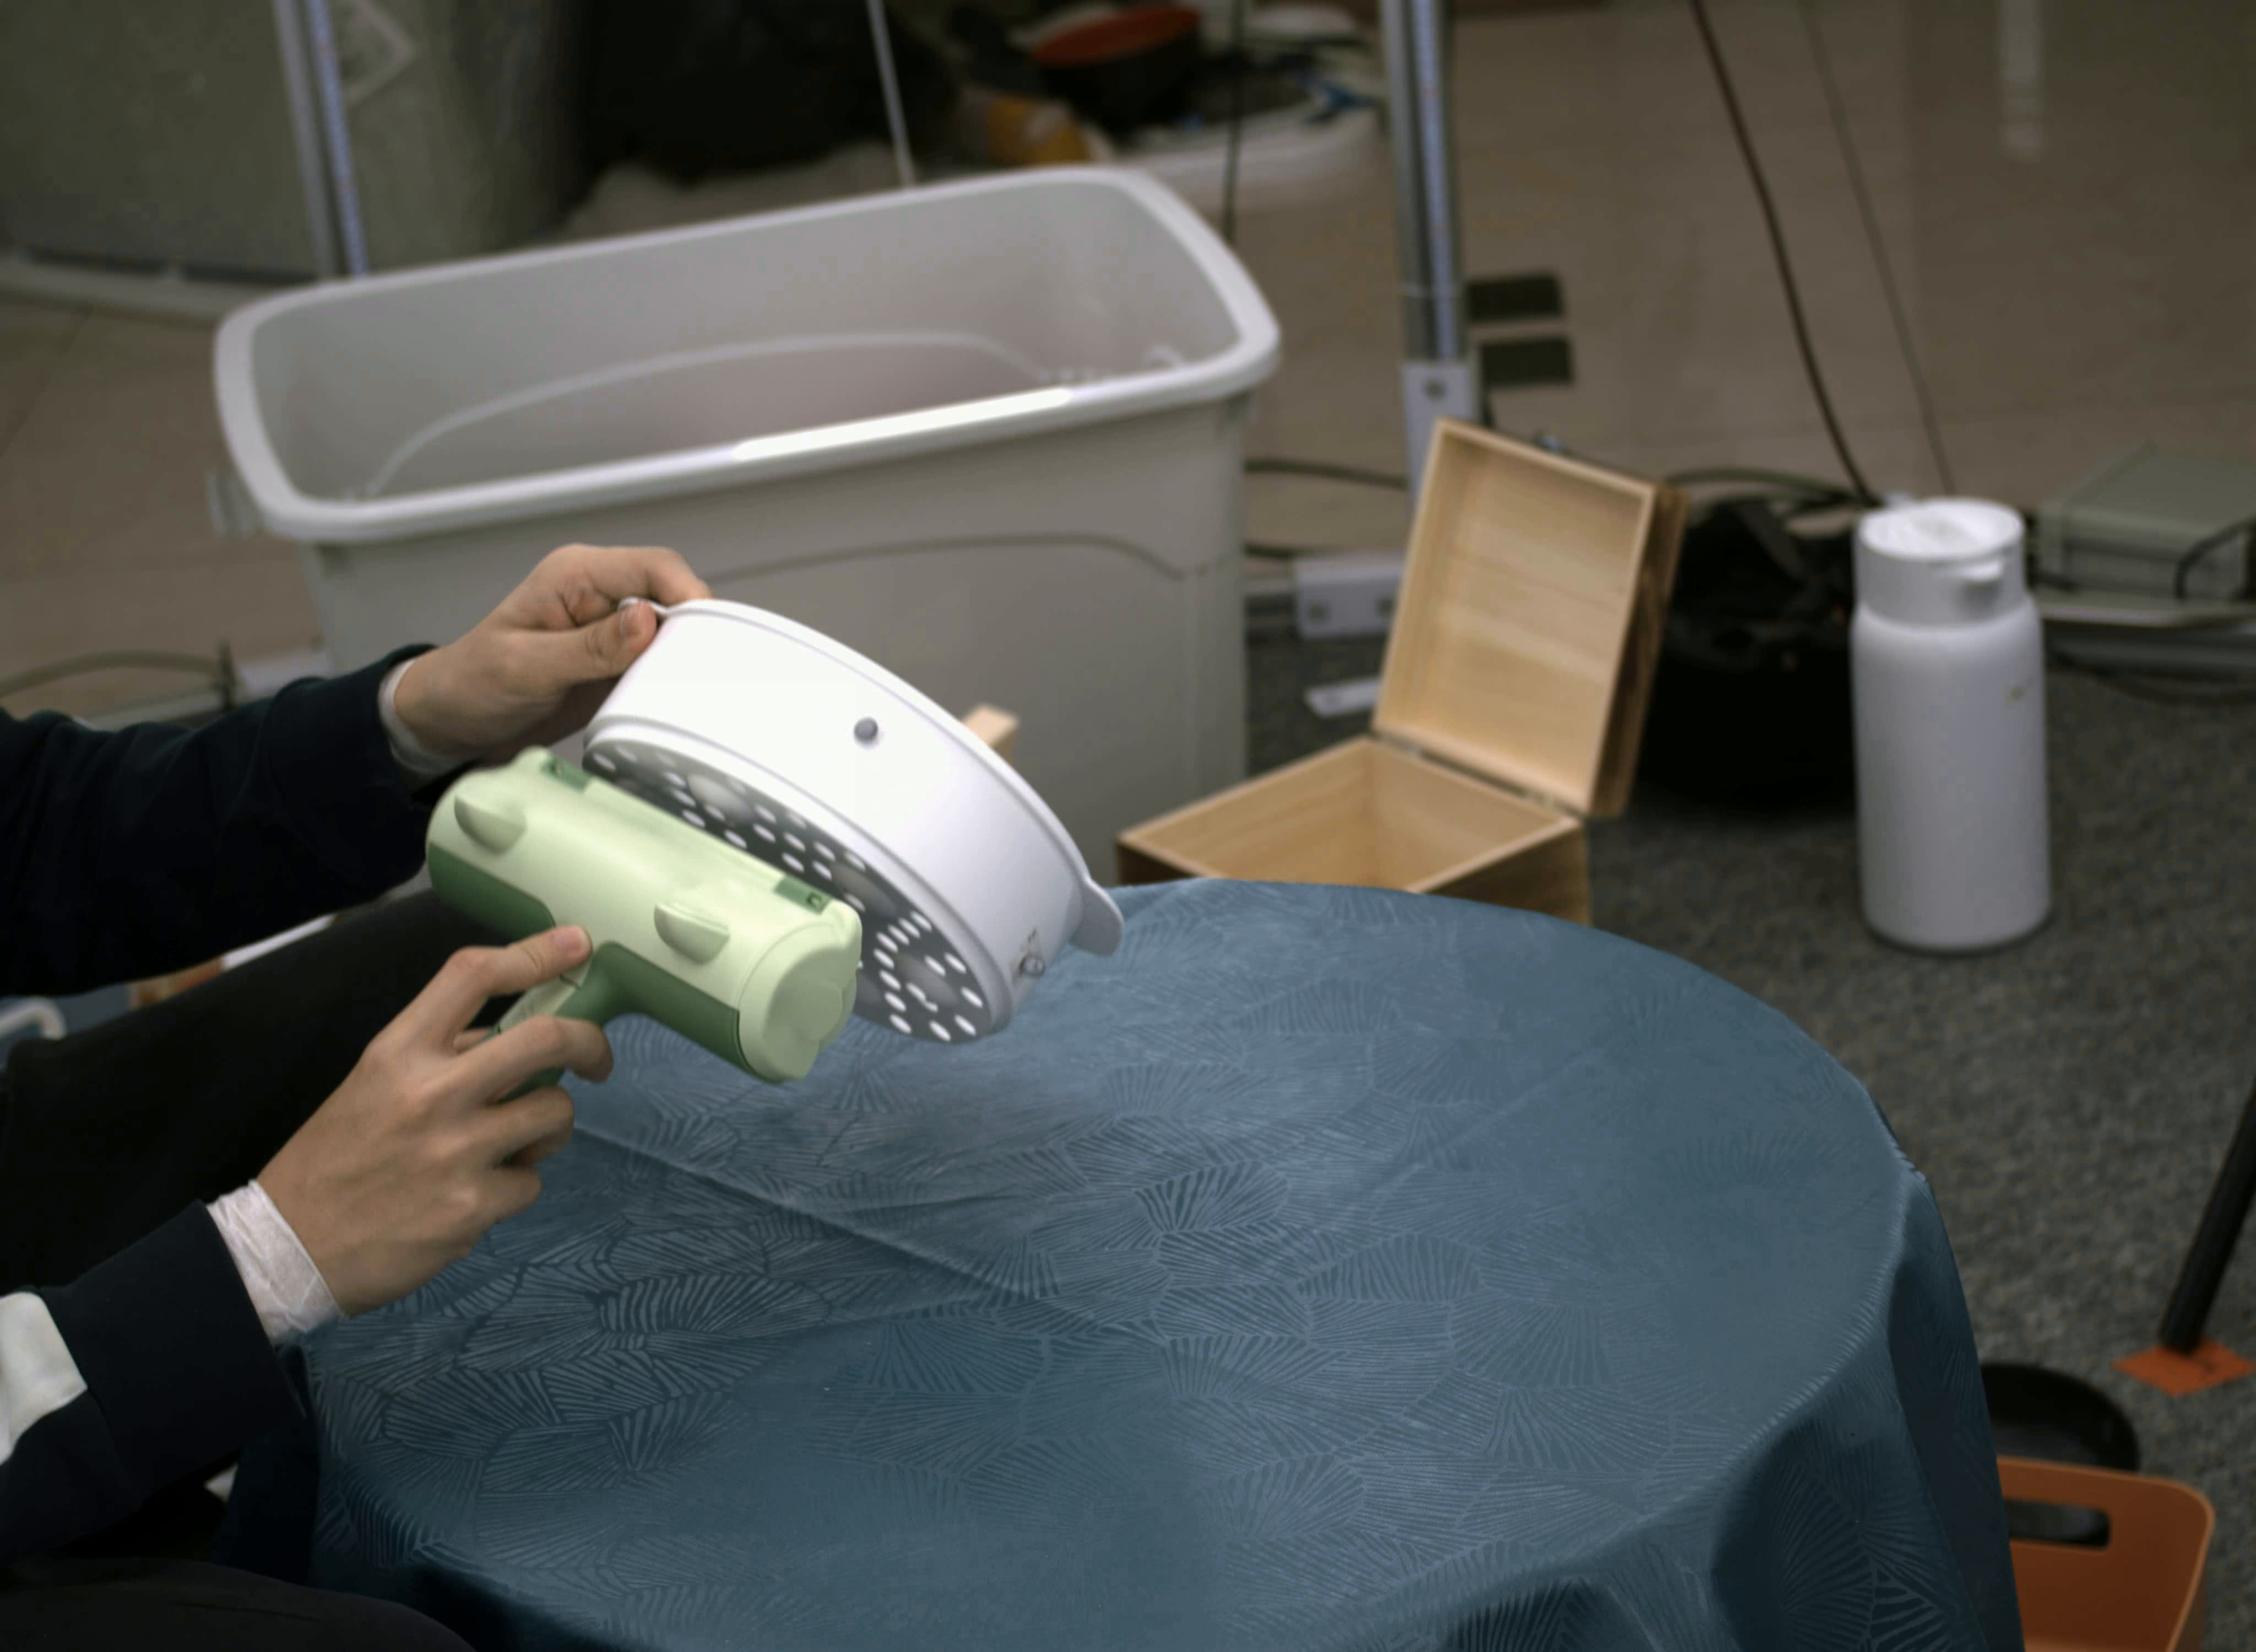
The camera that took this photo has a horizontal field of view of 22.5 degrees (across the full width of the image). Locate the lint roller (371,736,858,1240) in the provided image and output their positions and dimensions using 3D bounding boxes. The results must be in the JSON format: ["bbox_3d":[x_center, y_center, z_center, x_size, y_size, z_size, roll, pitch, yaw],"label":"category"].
[{"bbox_3d":[-0.217,0.062,2.024,0.196,0.083,0.182,28,67,39],"label":"lint roller"}]

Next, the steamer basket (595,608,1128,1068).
[{"bbox_3d":[-0.109,0.010,2.131,0.230,0.203,0.069,36,77,4],"label":"steamer basket"}]
